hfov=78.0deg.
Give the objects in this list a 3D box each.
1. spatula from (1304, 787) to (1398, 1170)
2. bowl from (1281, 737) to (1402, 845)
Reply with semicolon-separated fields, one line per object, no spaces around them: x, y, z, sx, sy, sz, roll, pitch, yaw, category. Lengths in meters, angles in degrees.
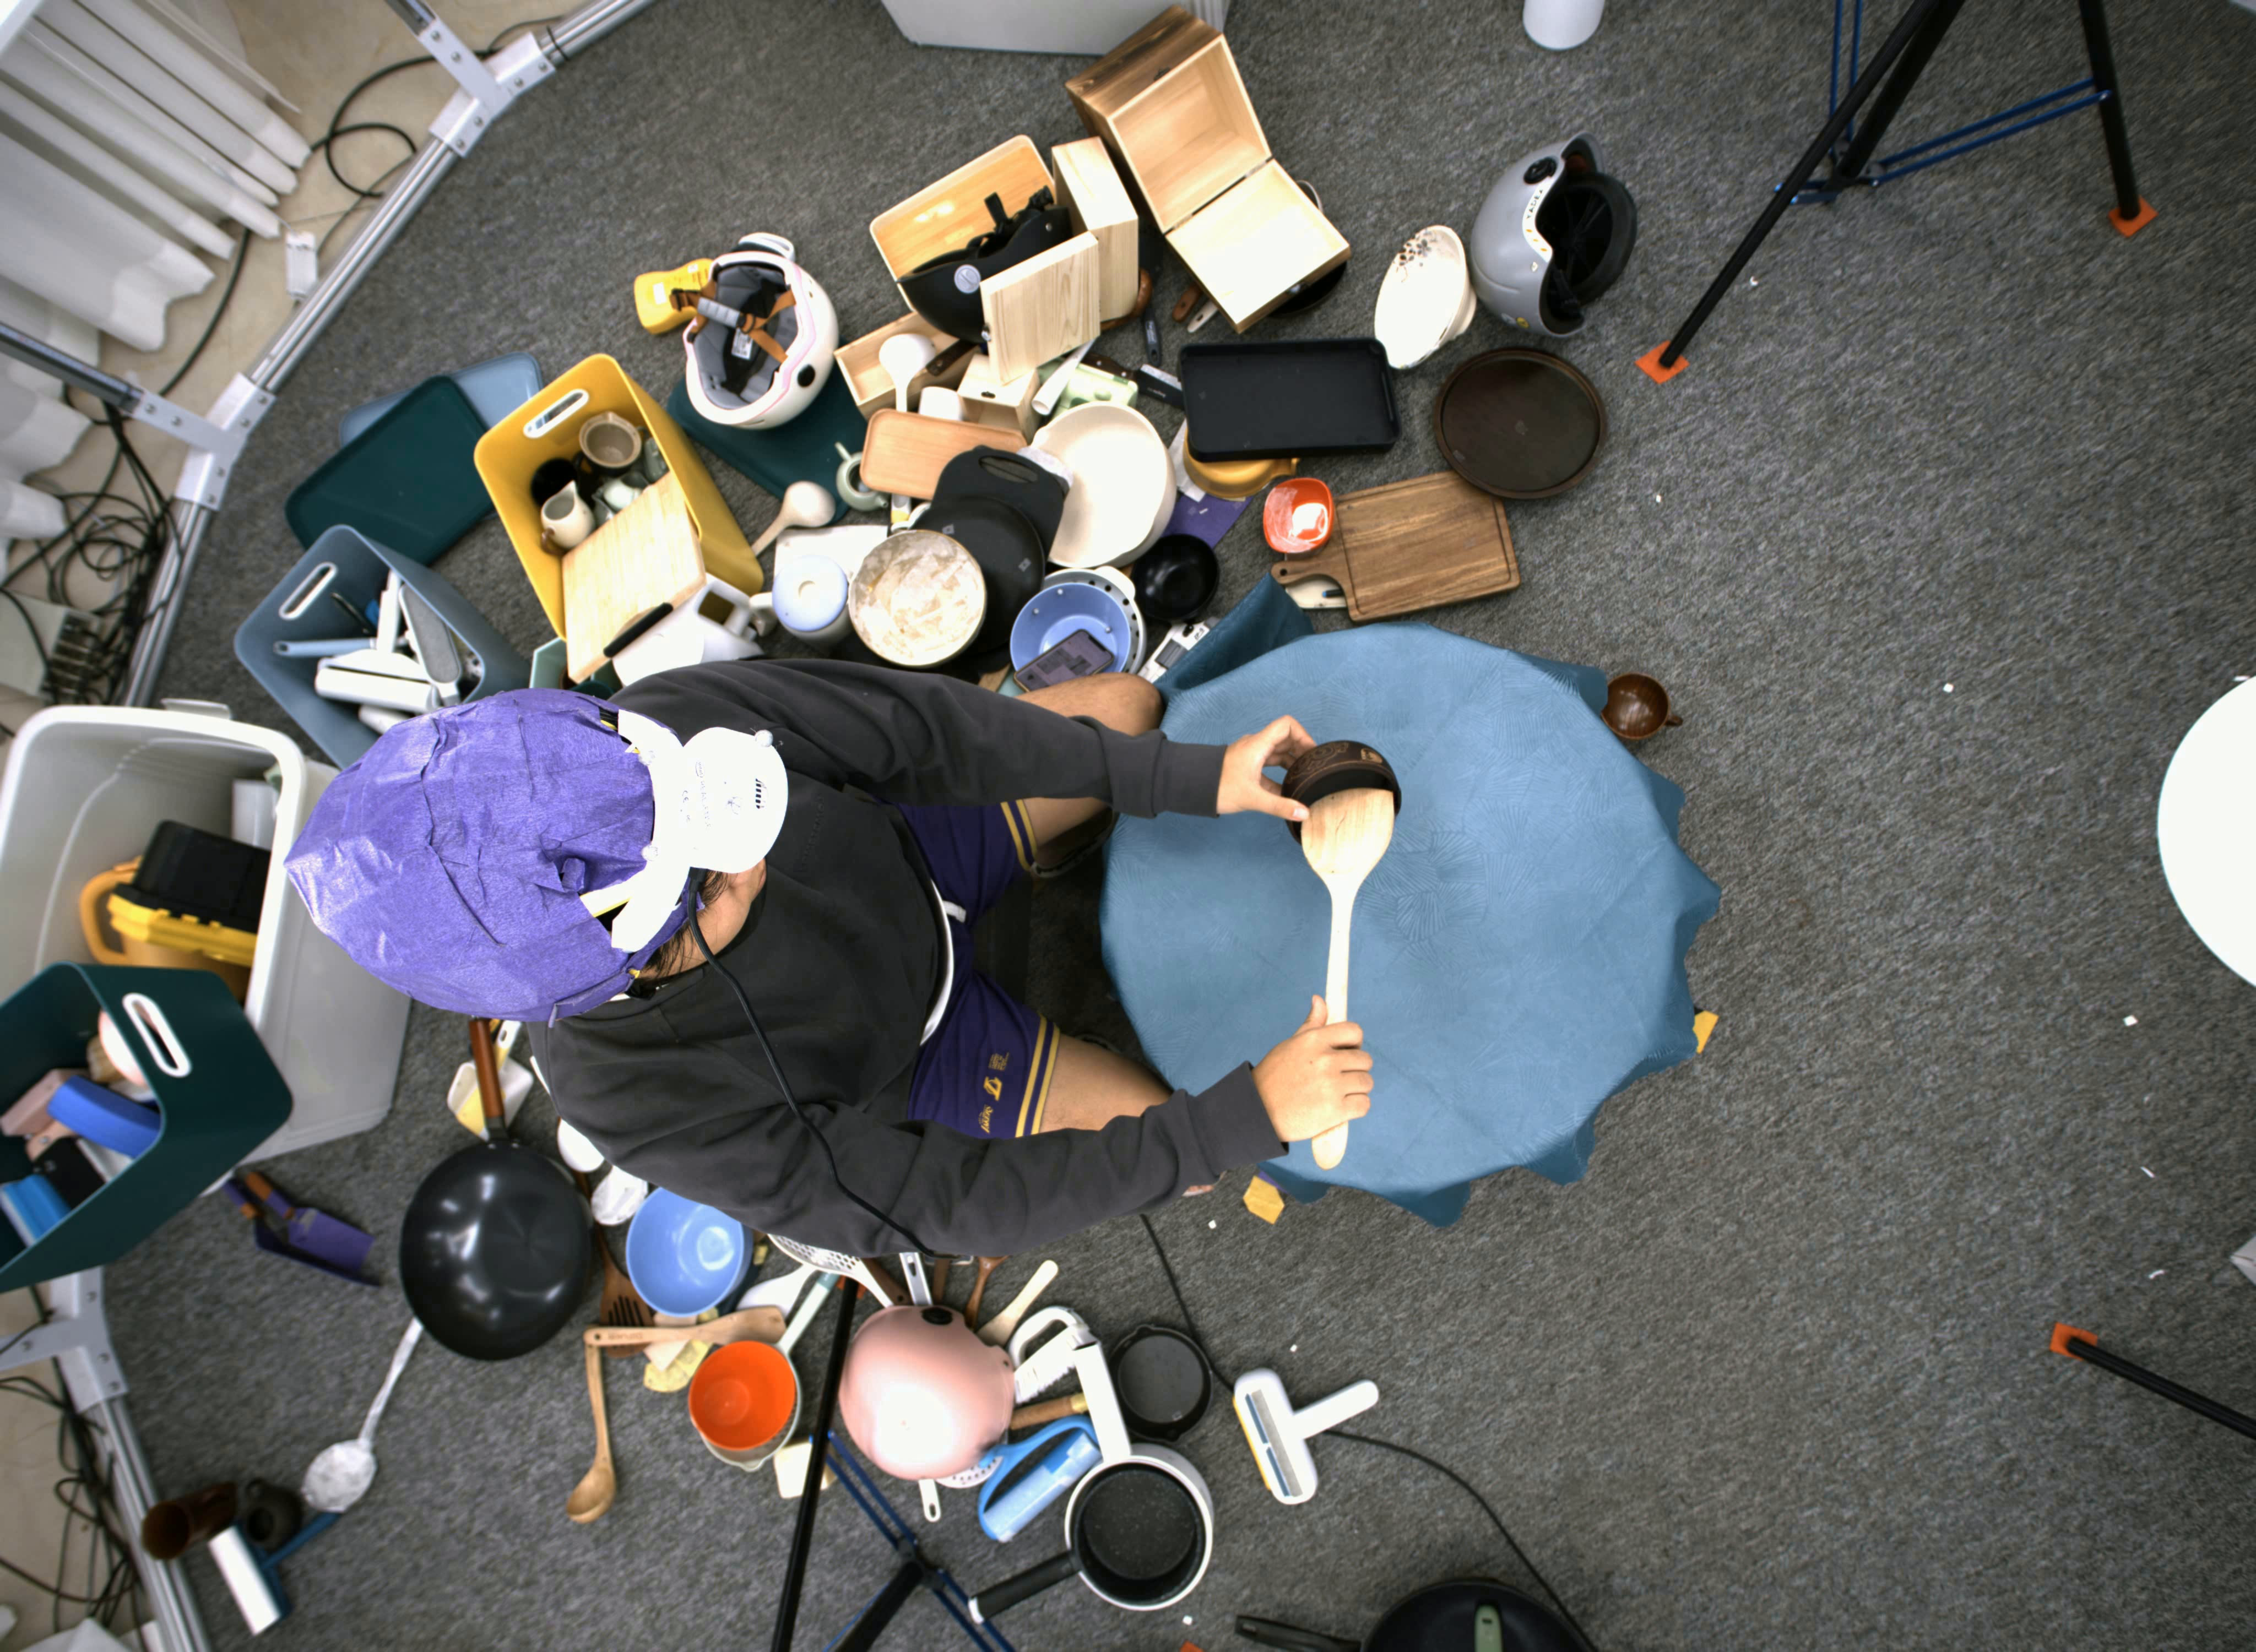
0.196;0.124;1.252;0.097;0.019;0.381;-11;52;28;spatula
0.209;-0.042;1.365;0.118;0.120;0.068;-8;47;9;bowl
